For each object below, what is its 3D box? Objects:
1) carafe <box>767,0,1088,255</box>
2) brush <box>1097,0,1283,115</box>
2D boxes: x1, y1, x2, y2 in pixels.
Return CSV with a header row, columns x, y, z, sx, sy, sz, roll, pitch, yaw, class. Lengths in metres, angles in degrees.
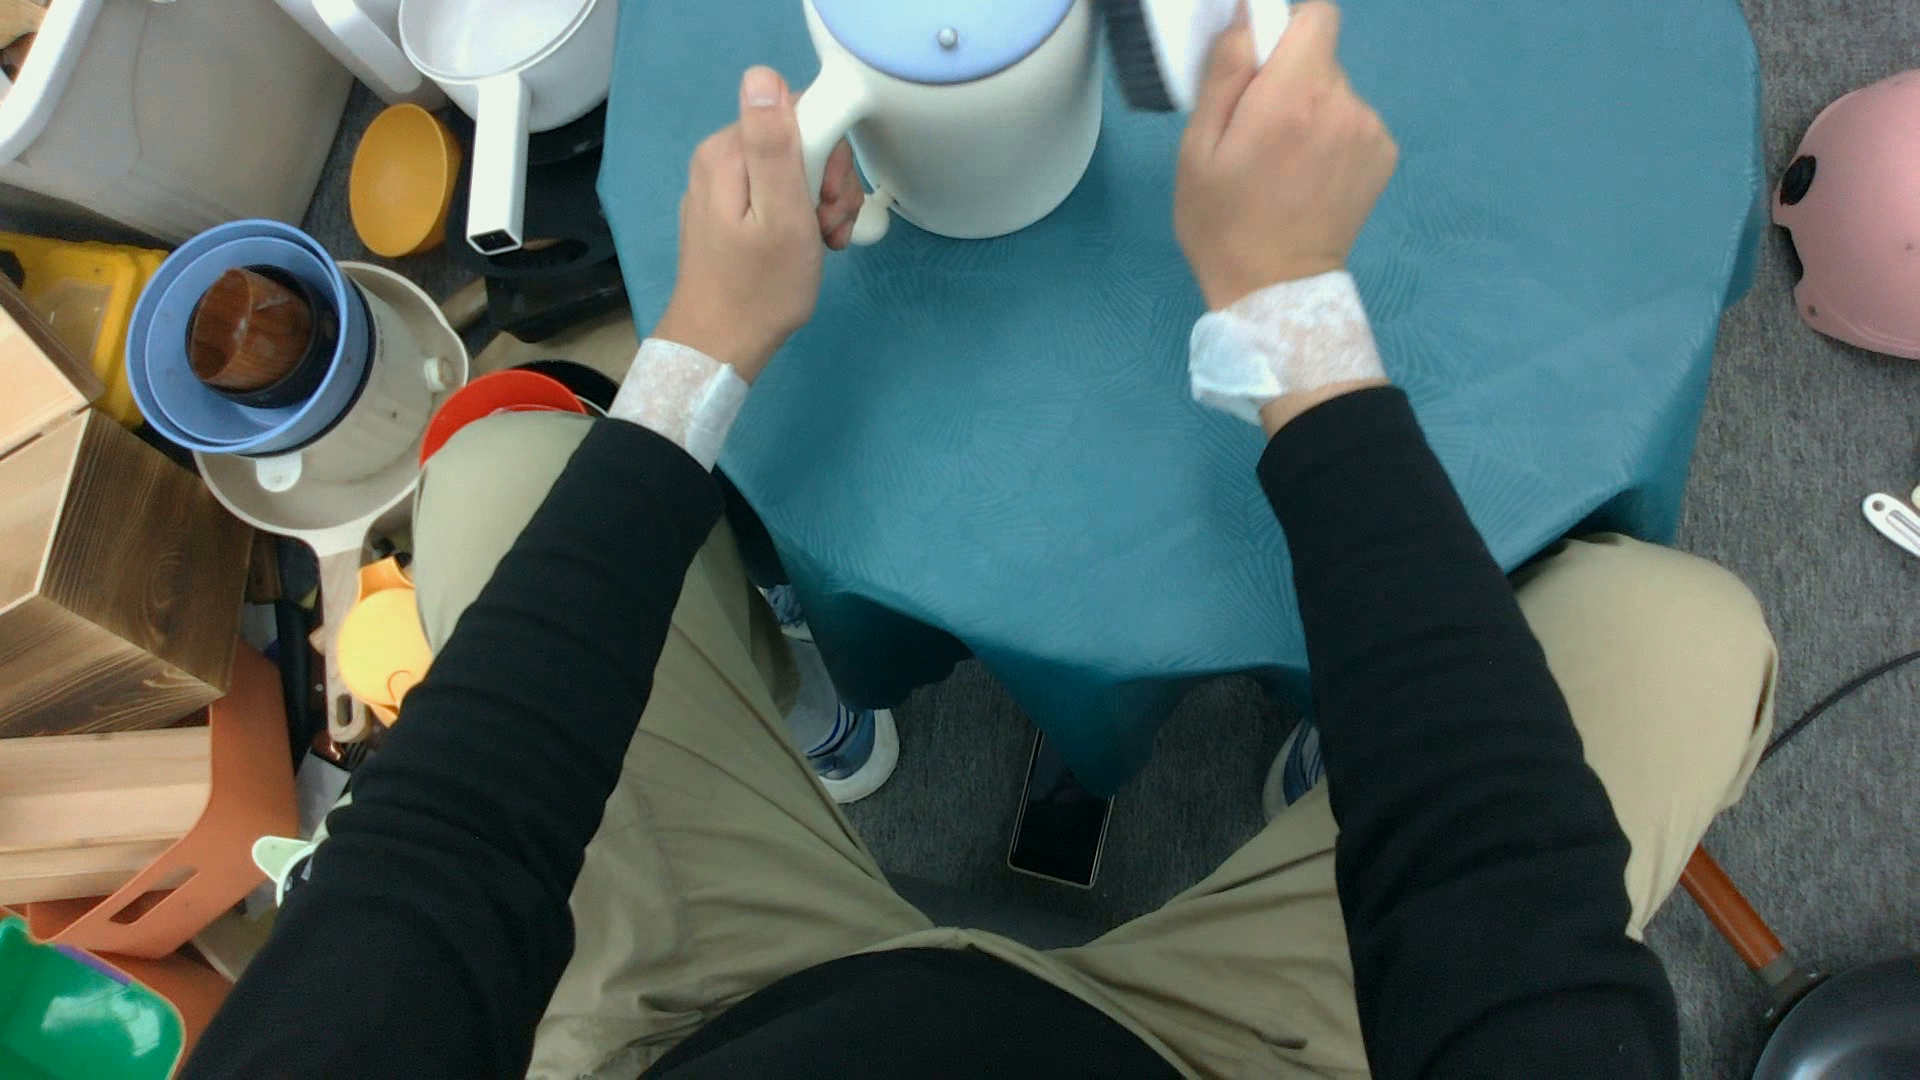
x,y,z,sx,sy,sz,roll,pitch,yaw,class
-0.022,-0.218,0.649,0.132,0.182,0.191,40,88,9,carafe
0.099,-0.225,0.569,0.050,0.099,0.072,-36,39,-30,brush
